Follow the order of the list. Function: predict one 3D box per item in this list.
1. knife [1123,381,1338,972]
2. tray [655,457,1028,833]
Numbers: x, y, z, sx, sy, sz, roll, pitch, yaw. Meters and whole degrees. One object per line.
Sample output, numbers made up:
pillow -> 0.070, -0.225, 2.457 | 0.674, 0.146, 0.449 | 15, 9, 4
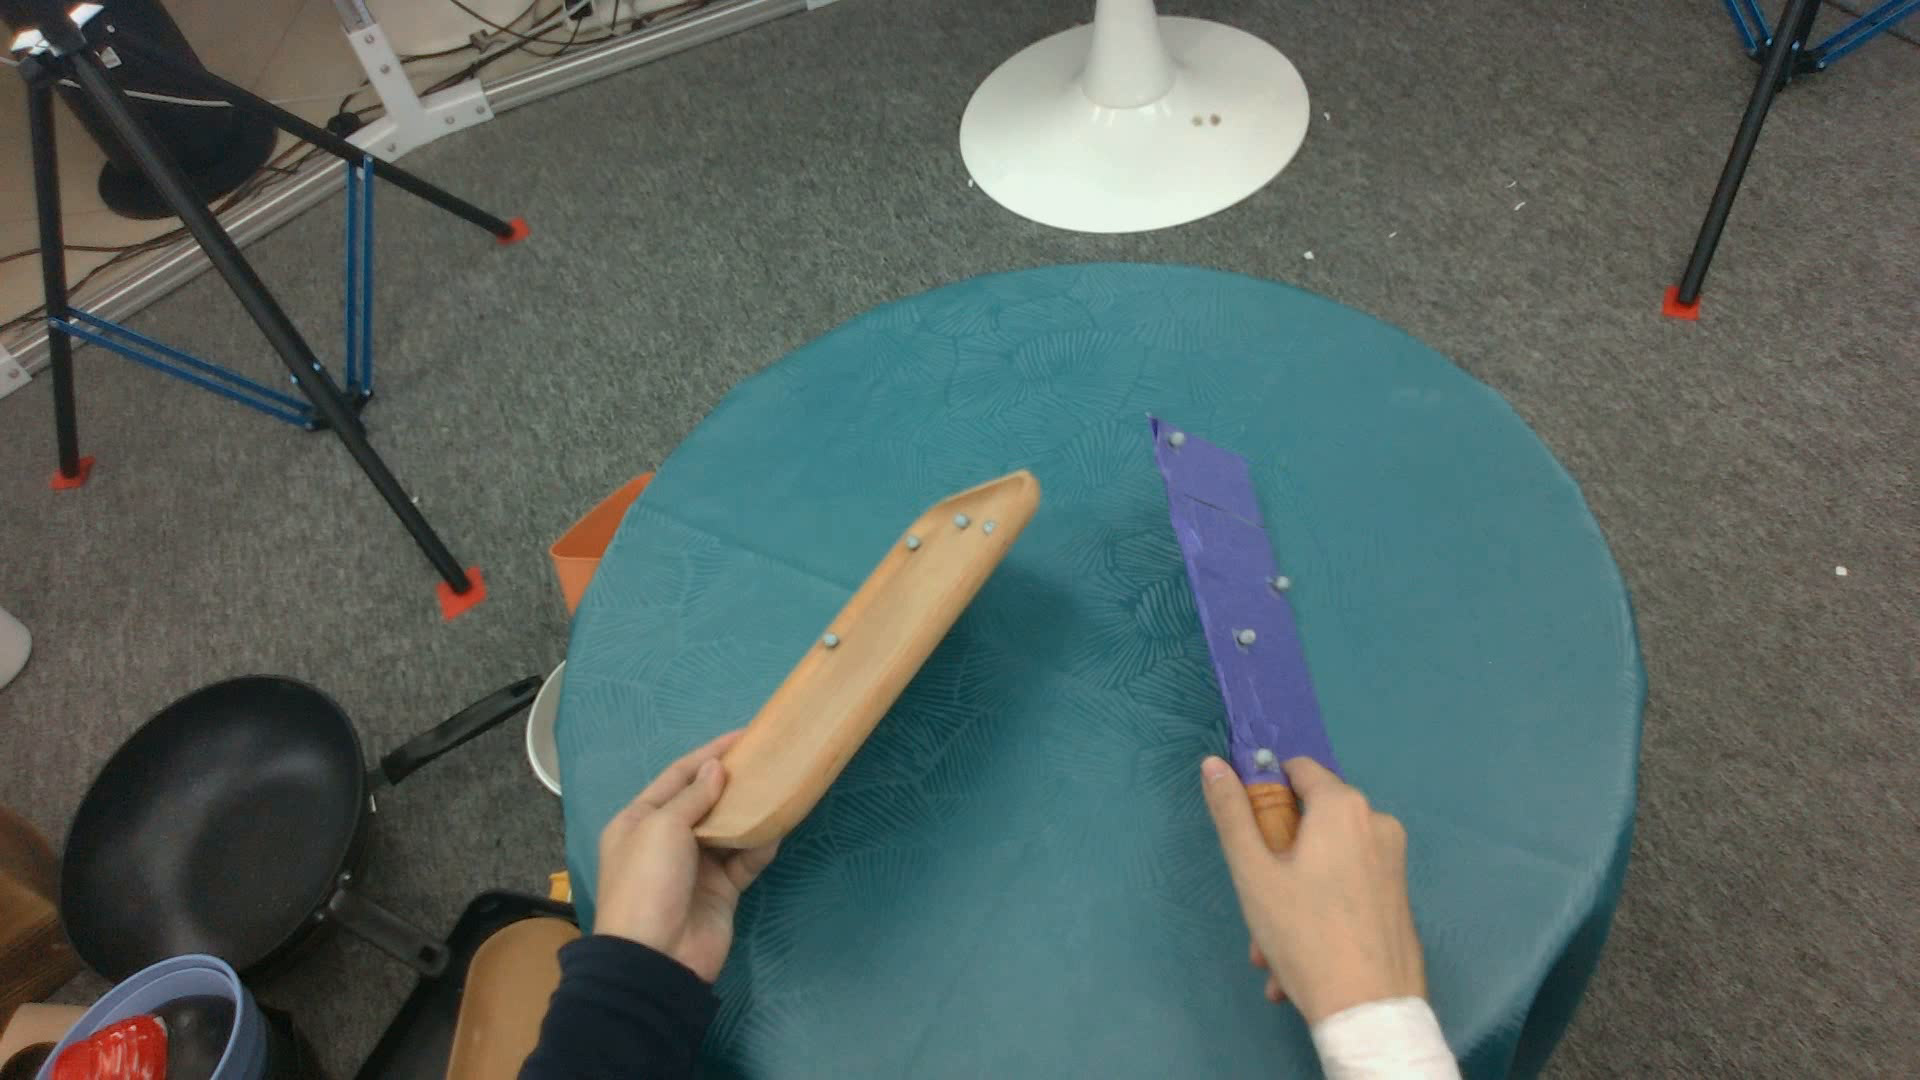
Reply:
knife -> 0.150, 0.057, 0.696 | 0.032, 0.104, 0.316 | -34, 52, 37
tray -> -0.058, 0.052, 0.717 | 0.252, 0.023, 0.130 | -52, 17, -27
